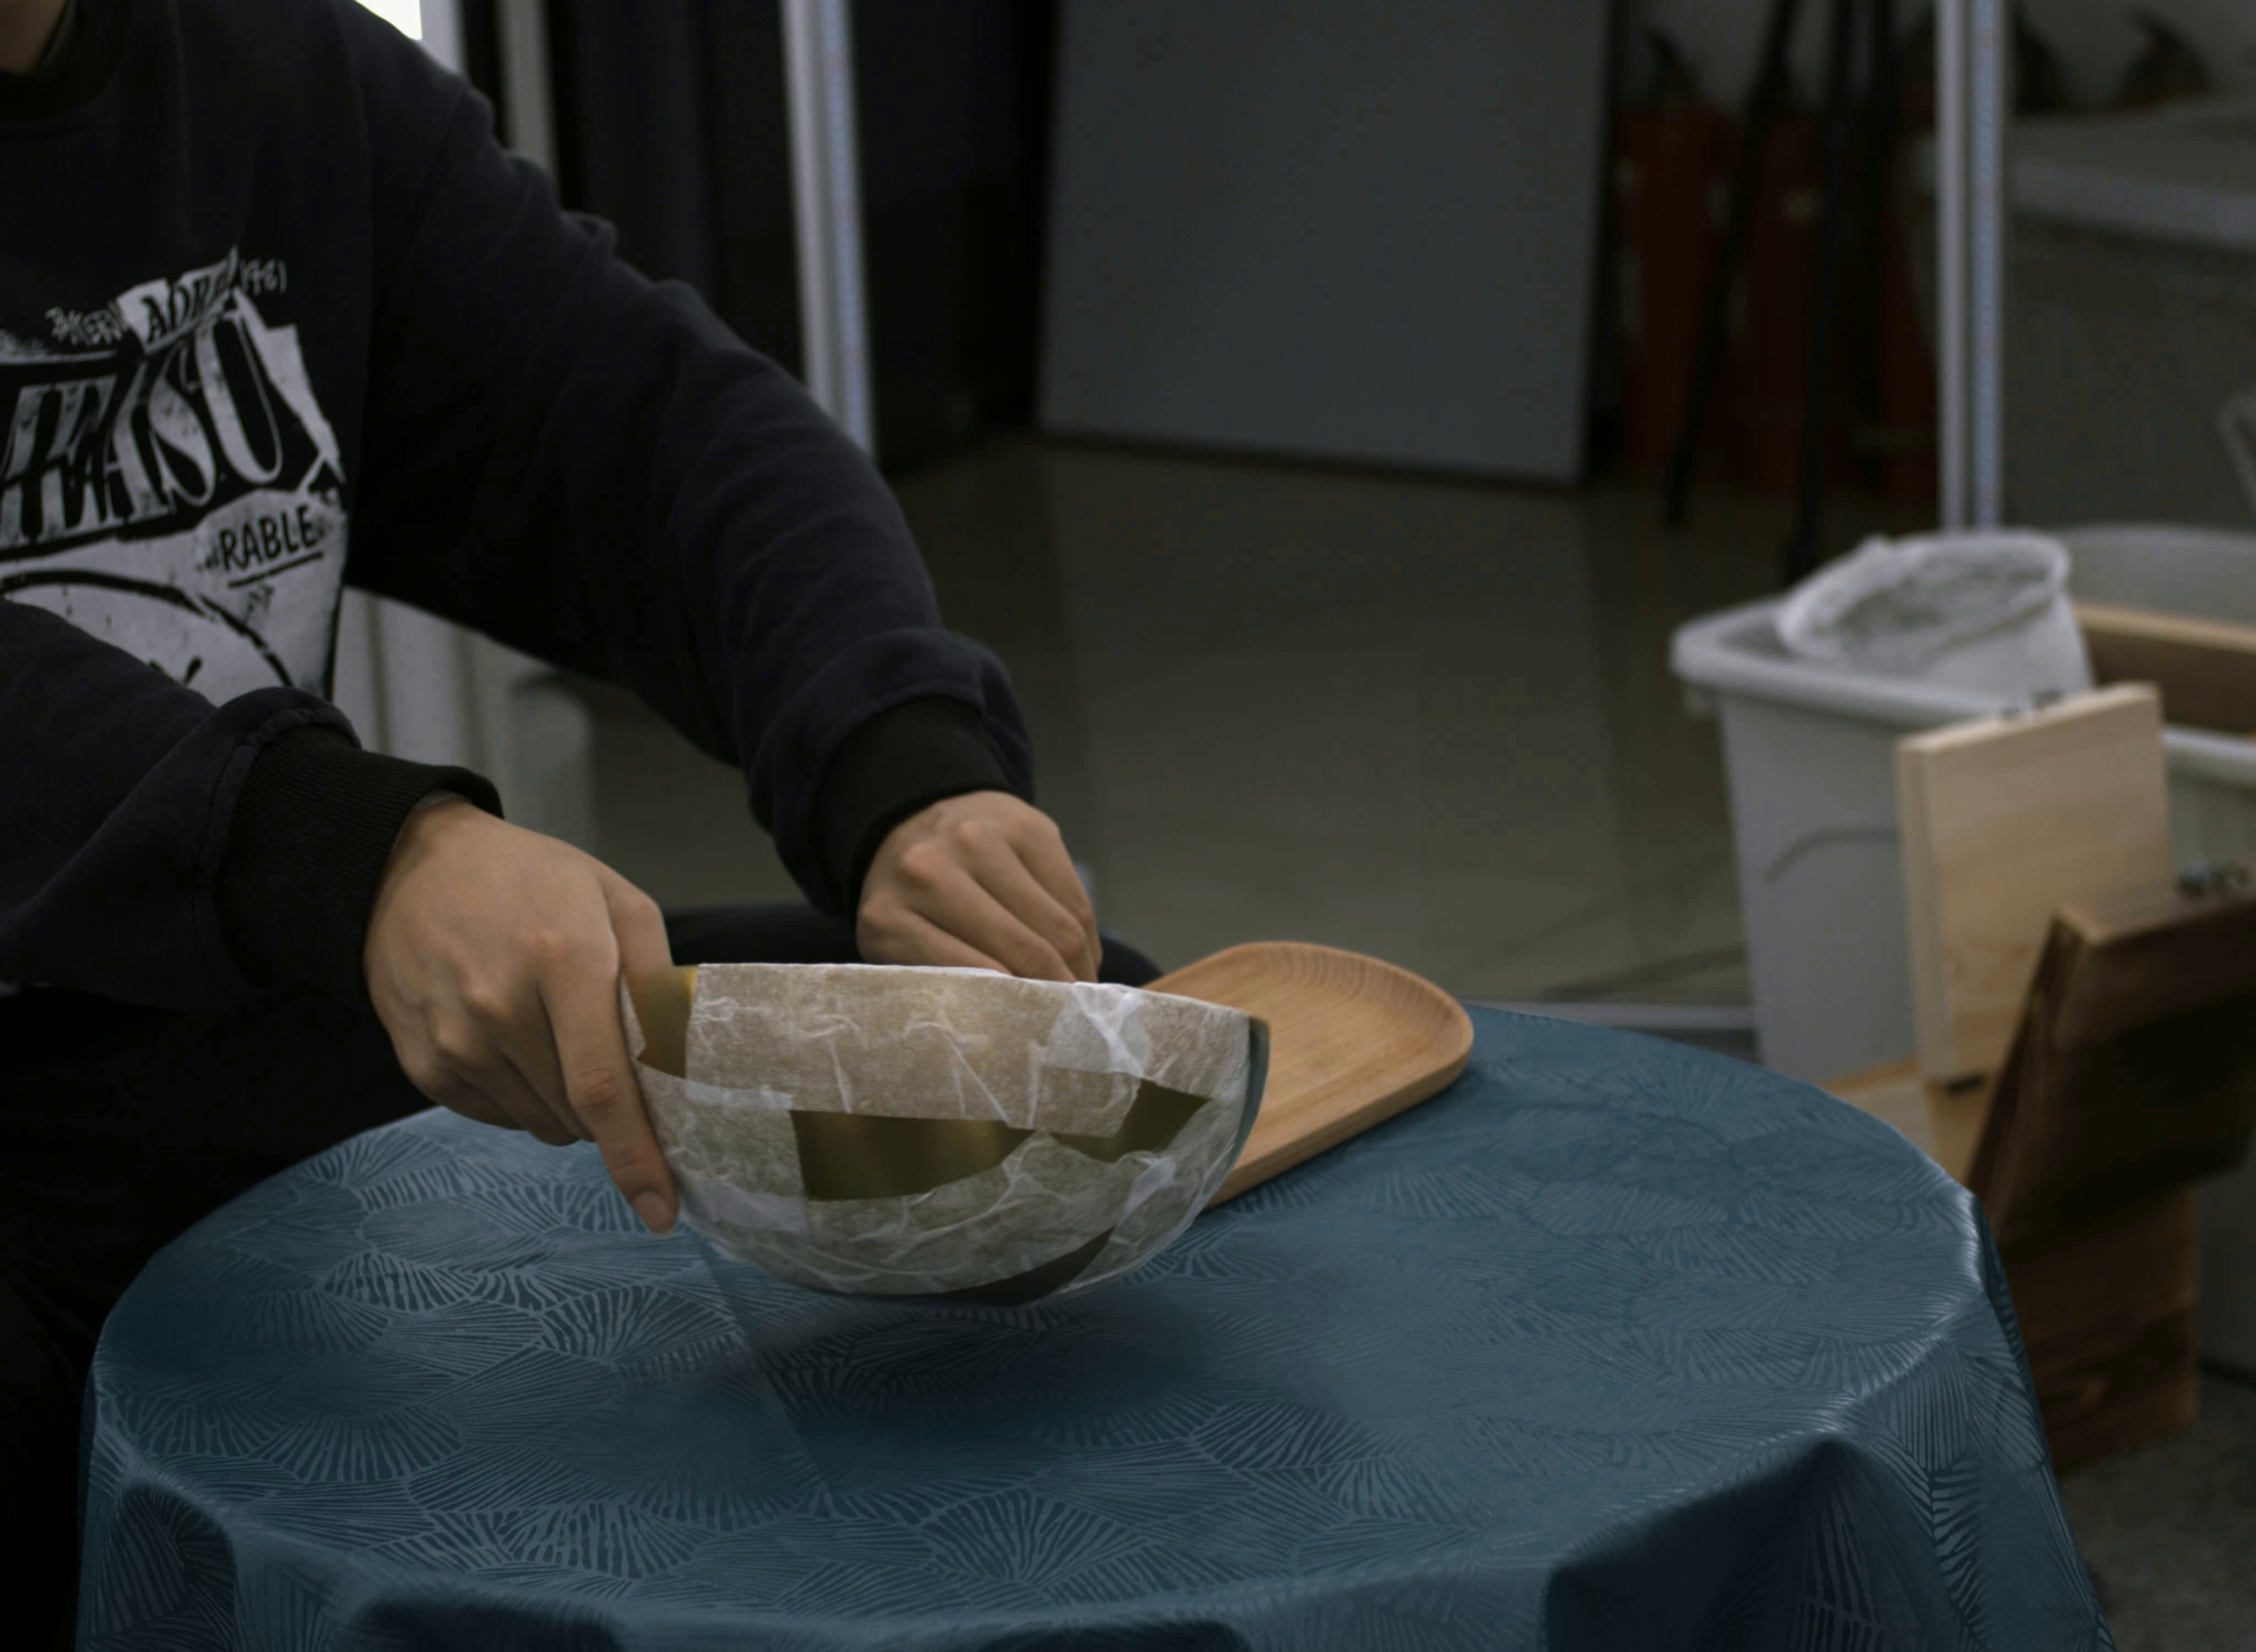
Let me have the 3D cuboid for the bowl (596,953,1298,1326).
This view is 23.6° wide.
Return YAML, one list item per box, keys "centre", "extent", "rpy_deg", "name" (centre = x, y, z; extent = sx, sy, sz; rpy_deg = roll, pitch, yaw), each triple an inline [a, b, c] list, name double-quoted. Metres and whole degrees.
- centre: [-0.058, 0.099, 1.603]
  extent: [0.212, 0.096, 0.215]
  rpy_deg: [4, -10, 0]
  name: "bowl"

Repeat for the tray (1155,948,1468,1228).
- centre: [0.031, 0.088, 1.819]
  extent: [0.102, 0.020, 0.227]
  rpy_deg: [21, 27, 30]
  name: "tray"
